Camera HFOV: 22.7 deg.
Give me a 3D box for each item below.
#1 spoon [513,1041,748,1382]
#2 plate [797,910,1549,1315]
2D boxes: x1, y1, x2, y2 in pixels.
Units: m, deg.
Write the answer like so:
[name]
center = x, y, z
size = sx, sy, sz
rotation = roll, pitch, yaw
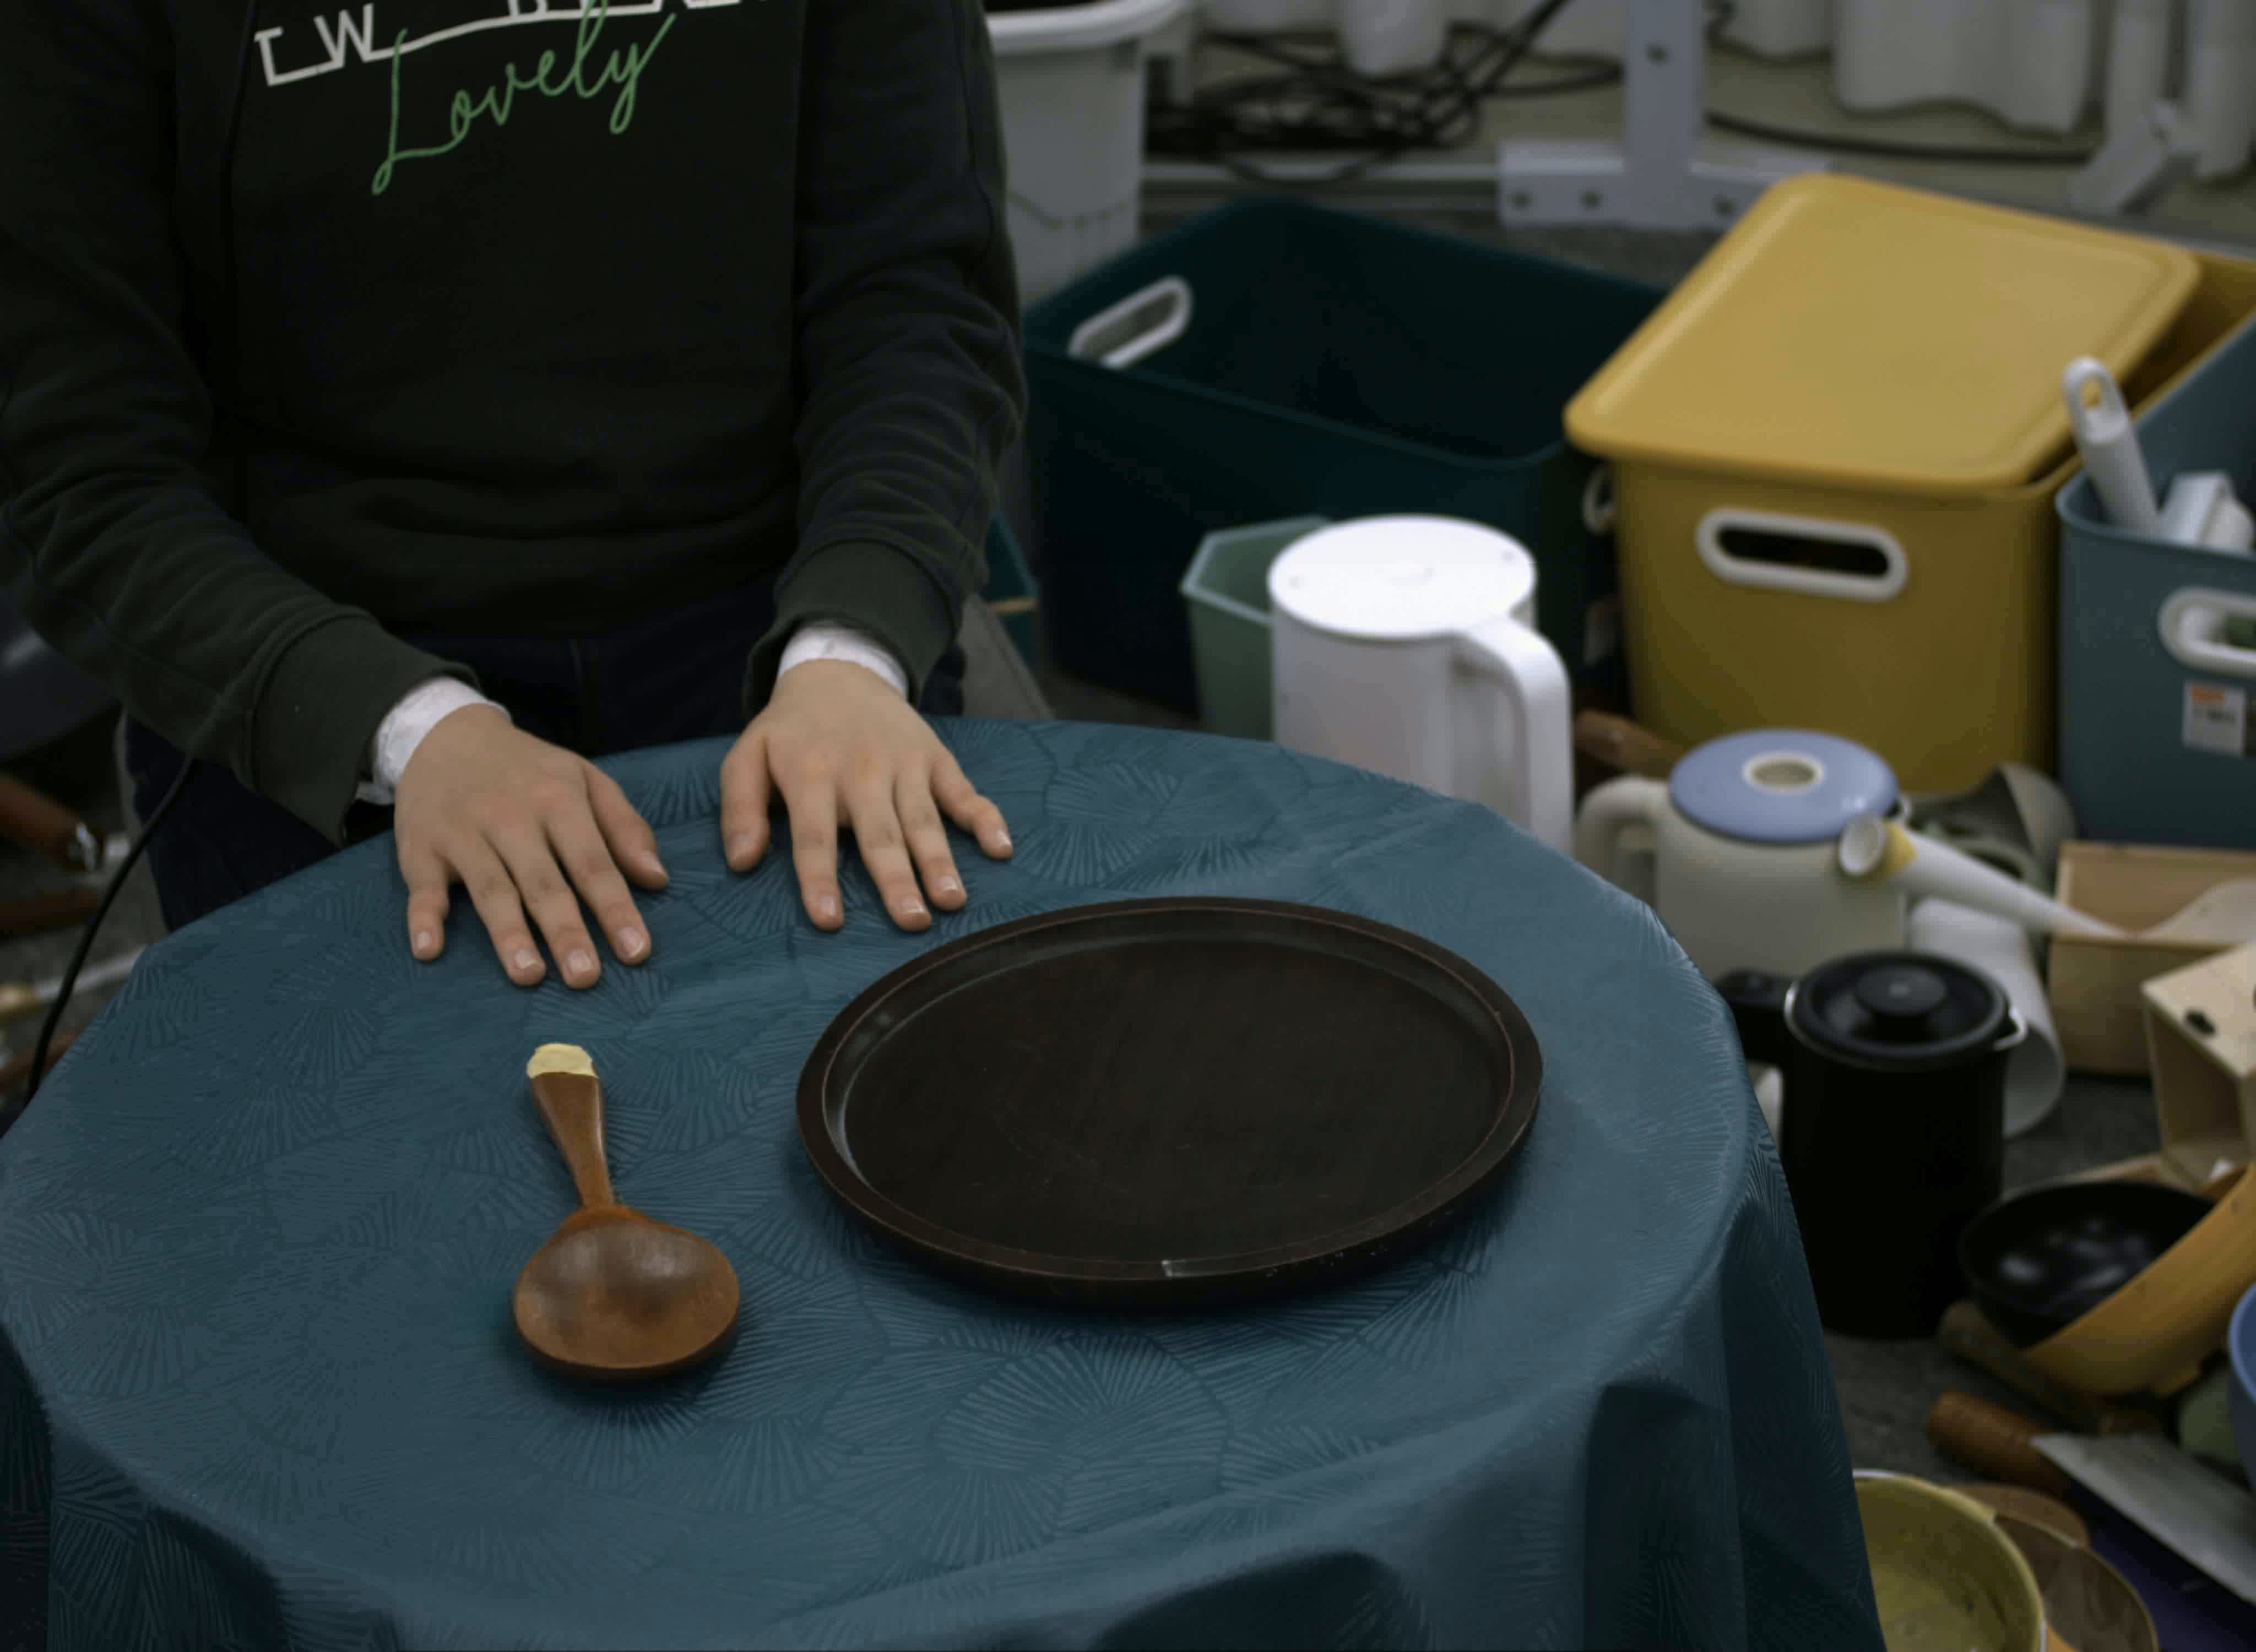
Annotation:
[spoon]
center = -0.173, 0.127, 1.849
size = 0.075, 0.017, 0.218
rotation = -8, 28, -10
[plate]
center = 0.015, 0.094, 1.890
size = 0.253, 0.029, 0.259
rotation = -1, 28, 1
